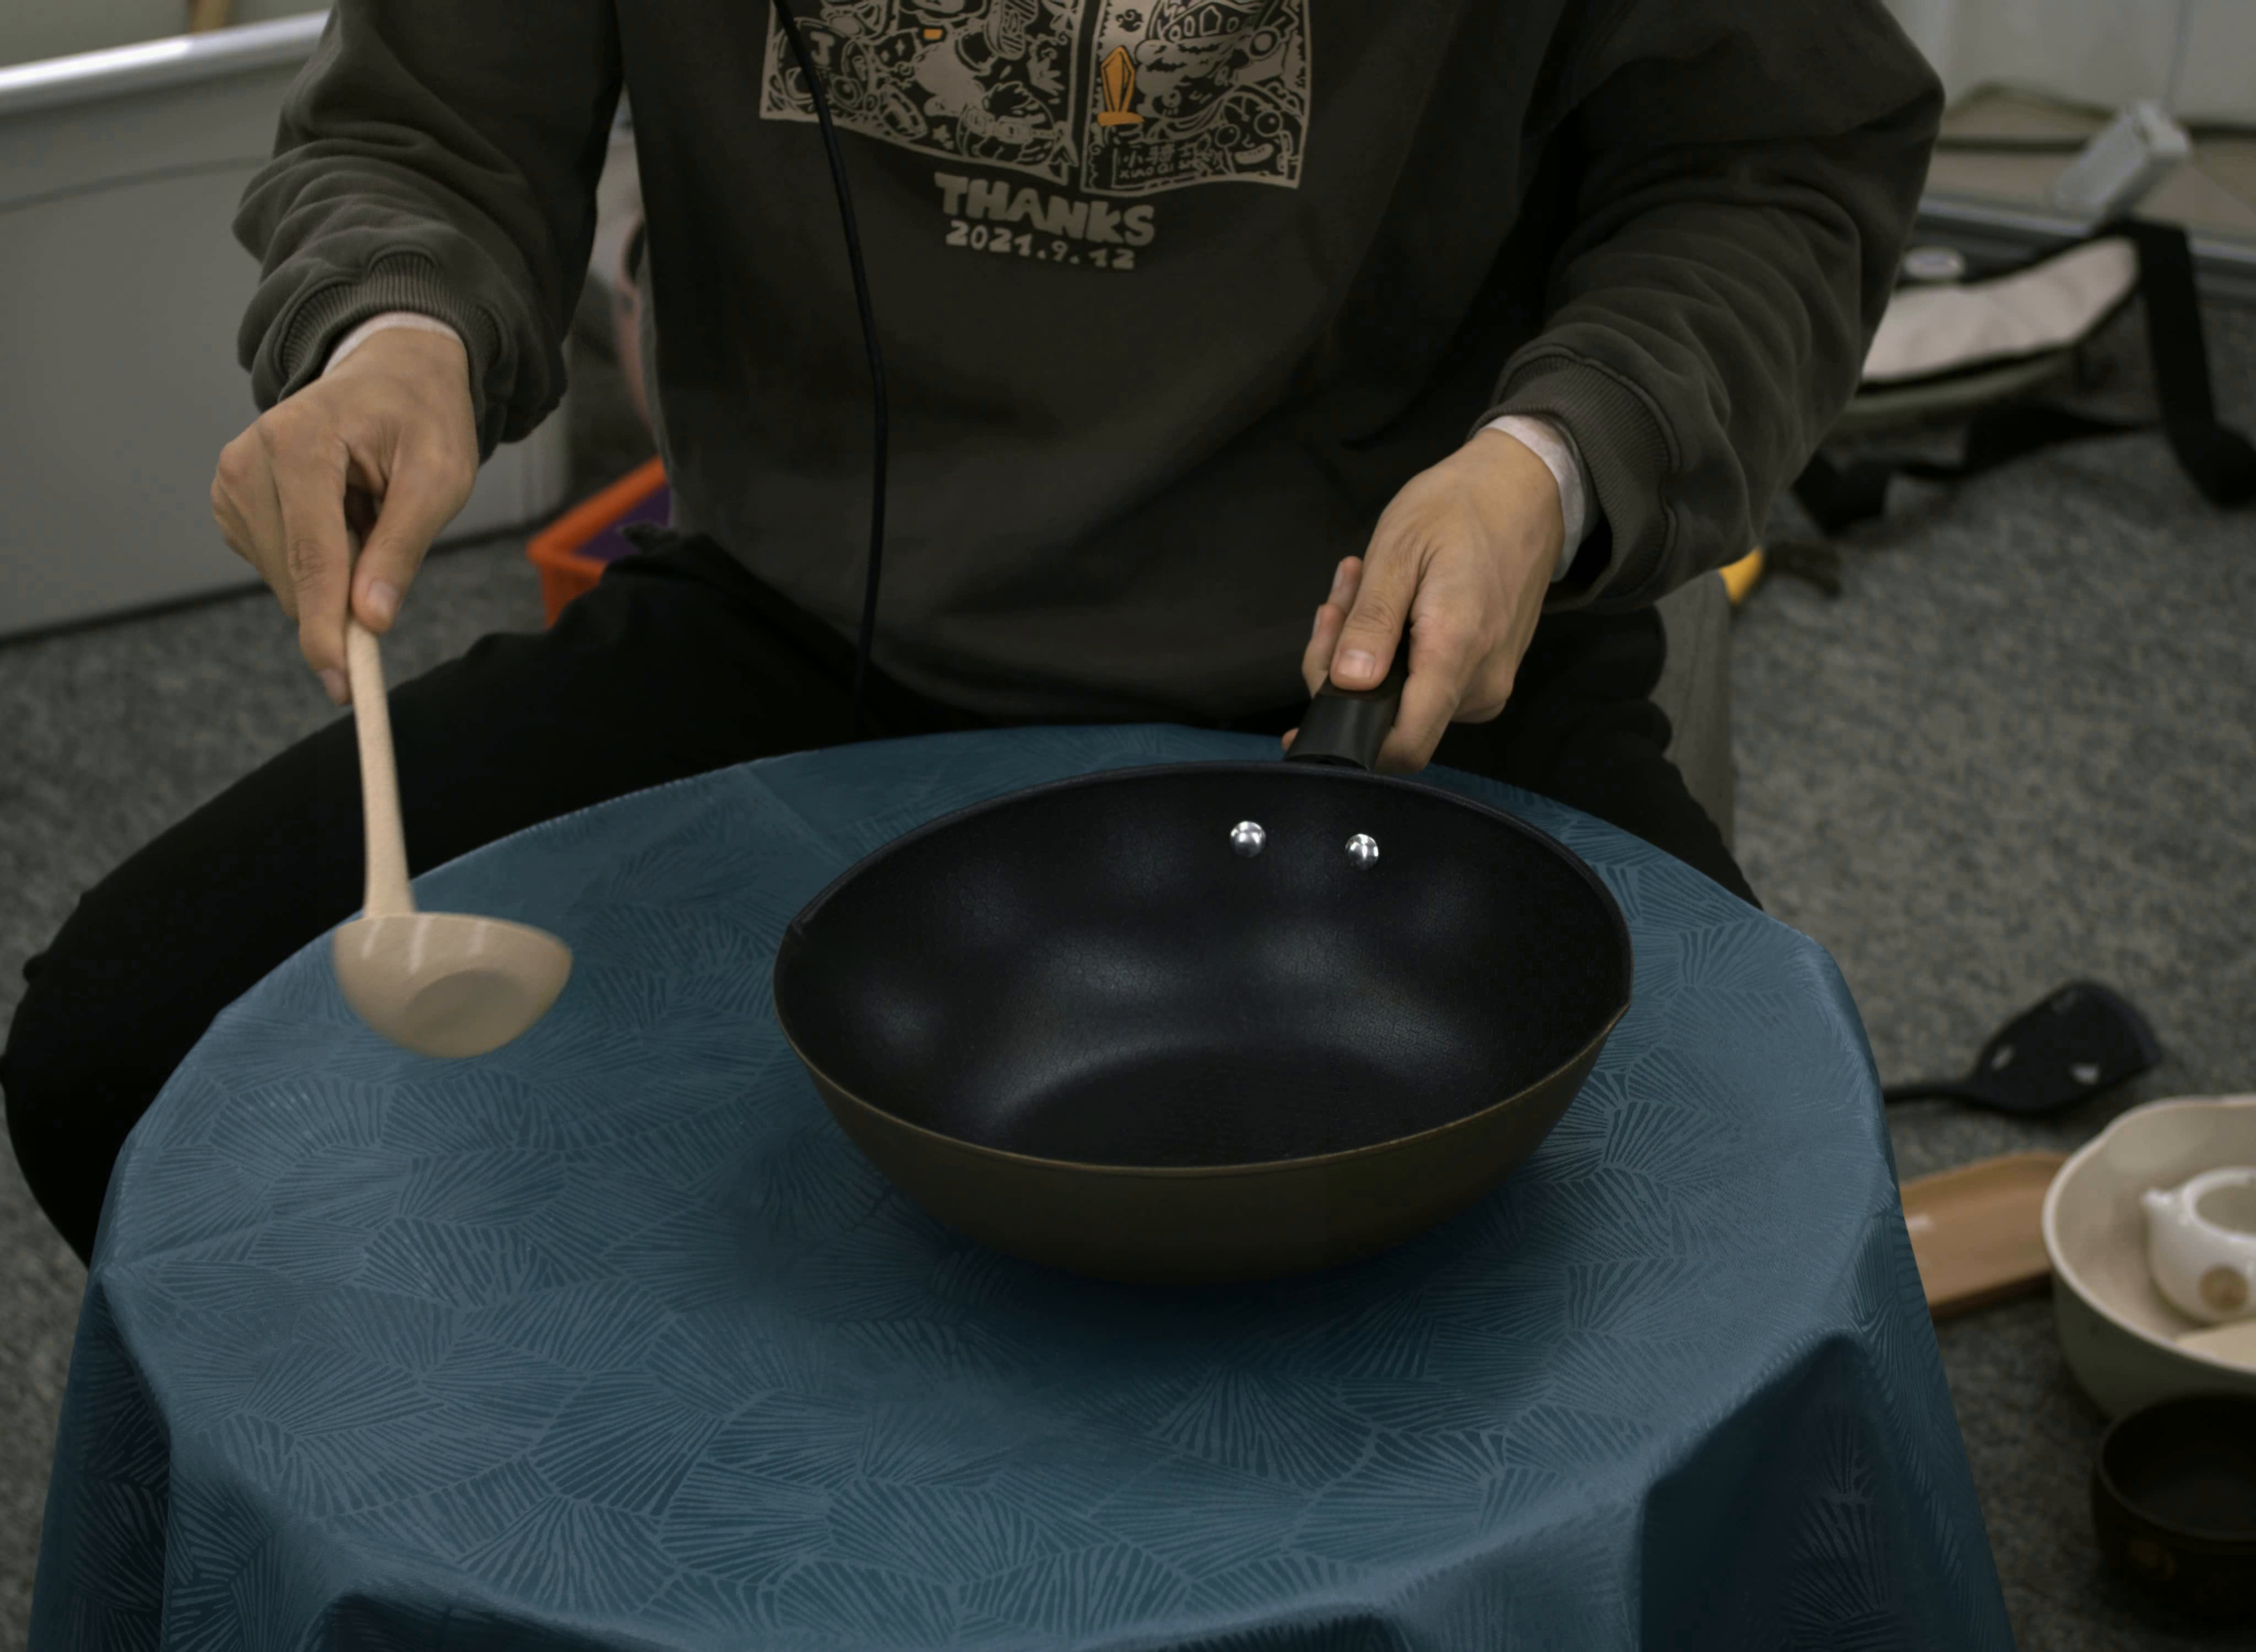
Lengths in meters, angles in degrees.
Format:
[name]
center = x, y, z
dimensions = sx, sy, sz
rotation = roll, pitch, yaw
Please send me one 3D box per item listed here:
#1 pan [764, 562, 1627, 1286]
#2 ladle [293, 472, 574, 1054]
[pan]
center = 0.050, 0.035, 1.934
dimensions = 0.286, 0.086, 0.471
rotation = 5, 27, 16
[ladle]
center = -0.229, -0.040, 1.796
dimensions = 0.072, 0.071, 0.259
rotation = 10, 46, -31
